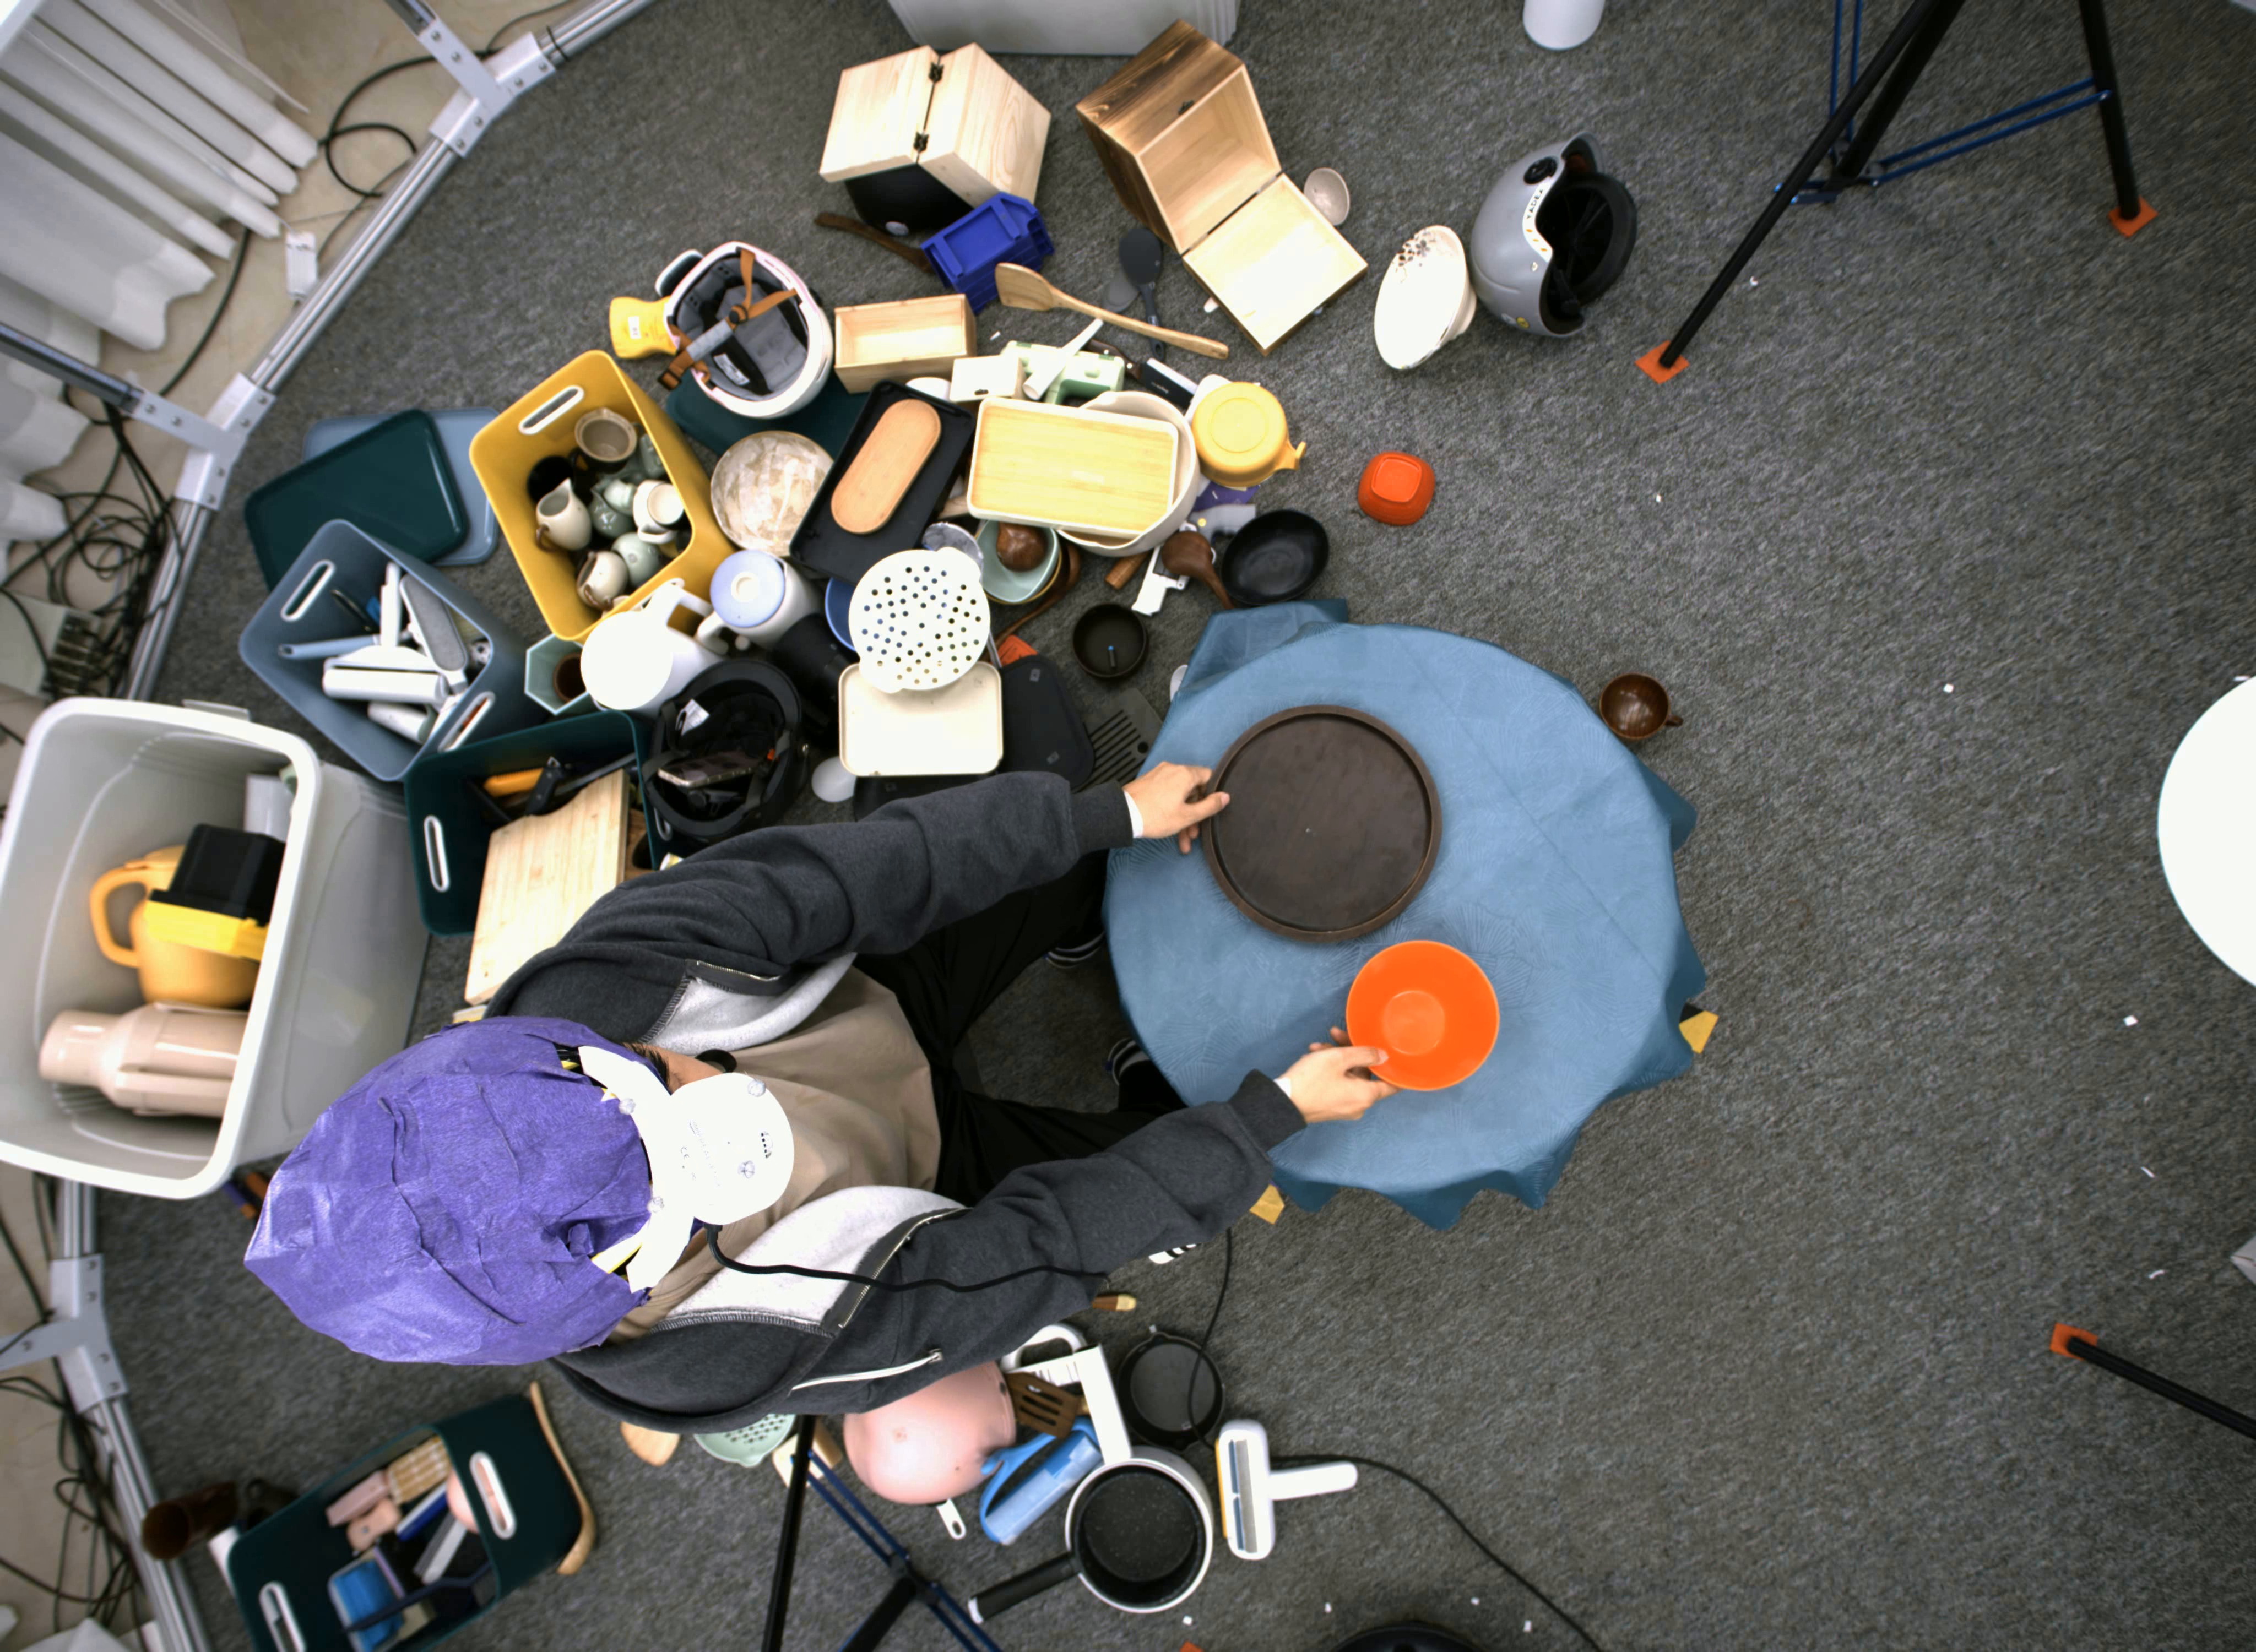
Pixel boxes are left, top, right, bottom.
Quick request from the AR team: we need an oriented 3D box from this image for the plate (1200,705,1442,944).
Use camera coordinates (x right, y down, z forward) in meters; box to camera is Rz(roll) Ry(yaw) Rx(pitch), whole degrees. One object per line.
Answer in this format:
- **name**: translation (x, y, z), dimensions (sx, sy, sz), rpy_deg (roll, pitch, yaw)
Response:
- **plate**: translation (0.203, -0.003, 1.461), dimensions (0.255, 0.029, 0.254), rpy_deg (0, 88, 8)

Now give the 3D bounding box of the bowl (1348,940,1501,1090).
- **bowl**: translation (0.296, 0.189, 1.397), dimensions (0.148, 0.105, 0.147), rpy_deg (-1, 86, 9)
